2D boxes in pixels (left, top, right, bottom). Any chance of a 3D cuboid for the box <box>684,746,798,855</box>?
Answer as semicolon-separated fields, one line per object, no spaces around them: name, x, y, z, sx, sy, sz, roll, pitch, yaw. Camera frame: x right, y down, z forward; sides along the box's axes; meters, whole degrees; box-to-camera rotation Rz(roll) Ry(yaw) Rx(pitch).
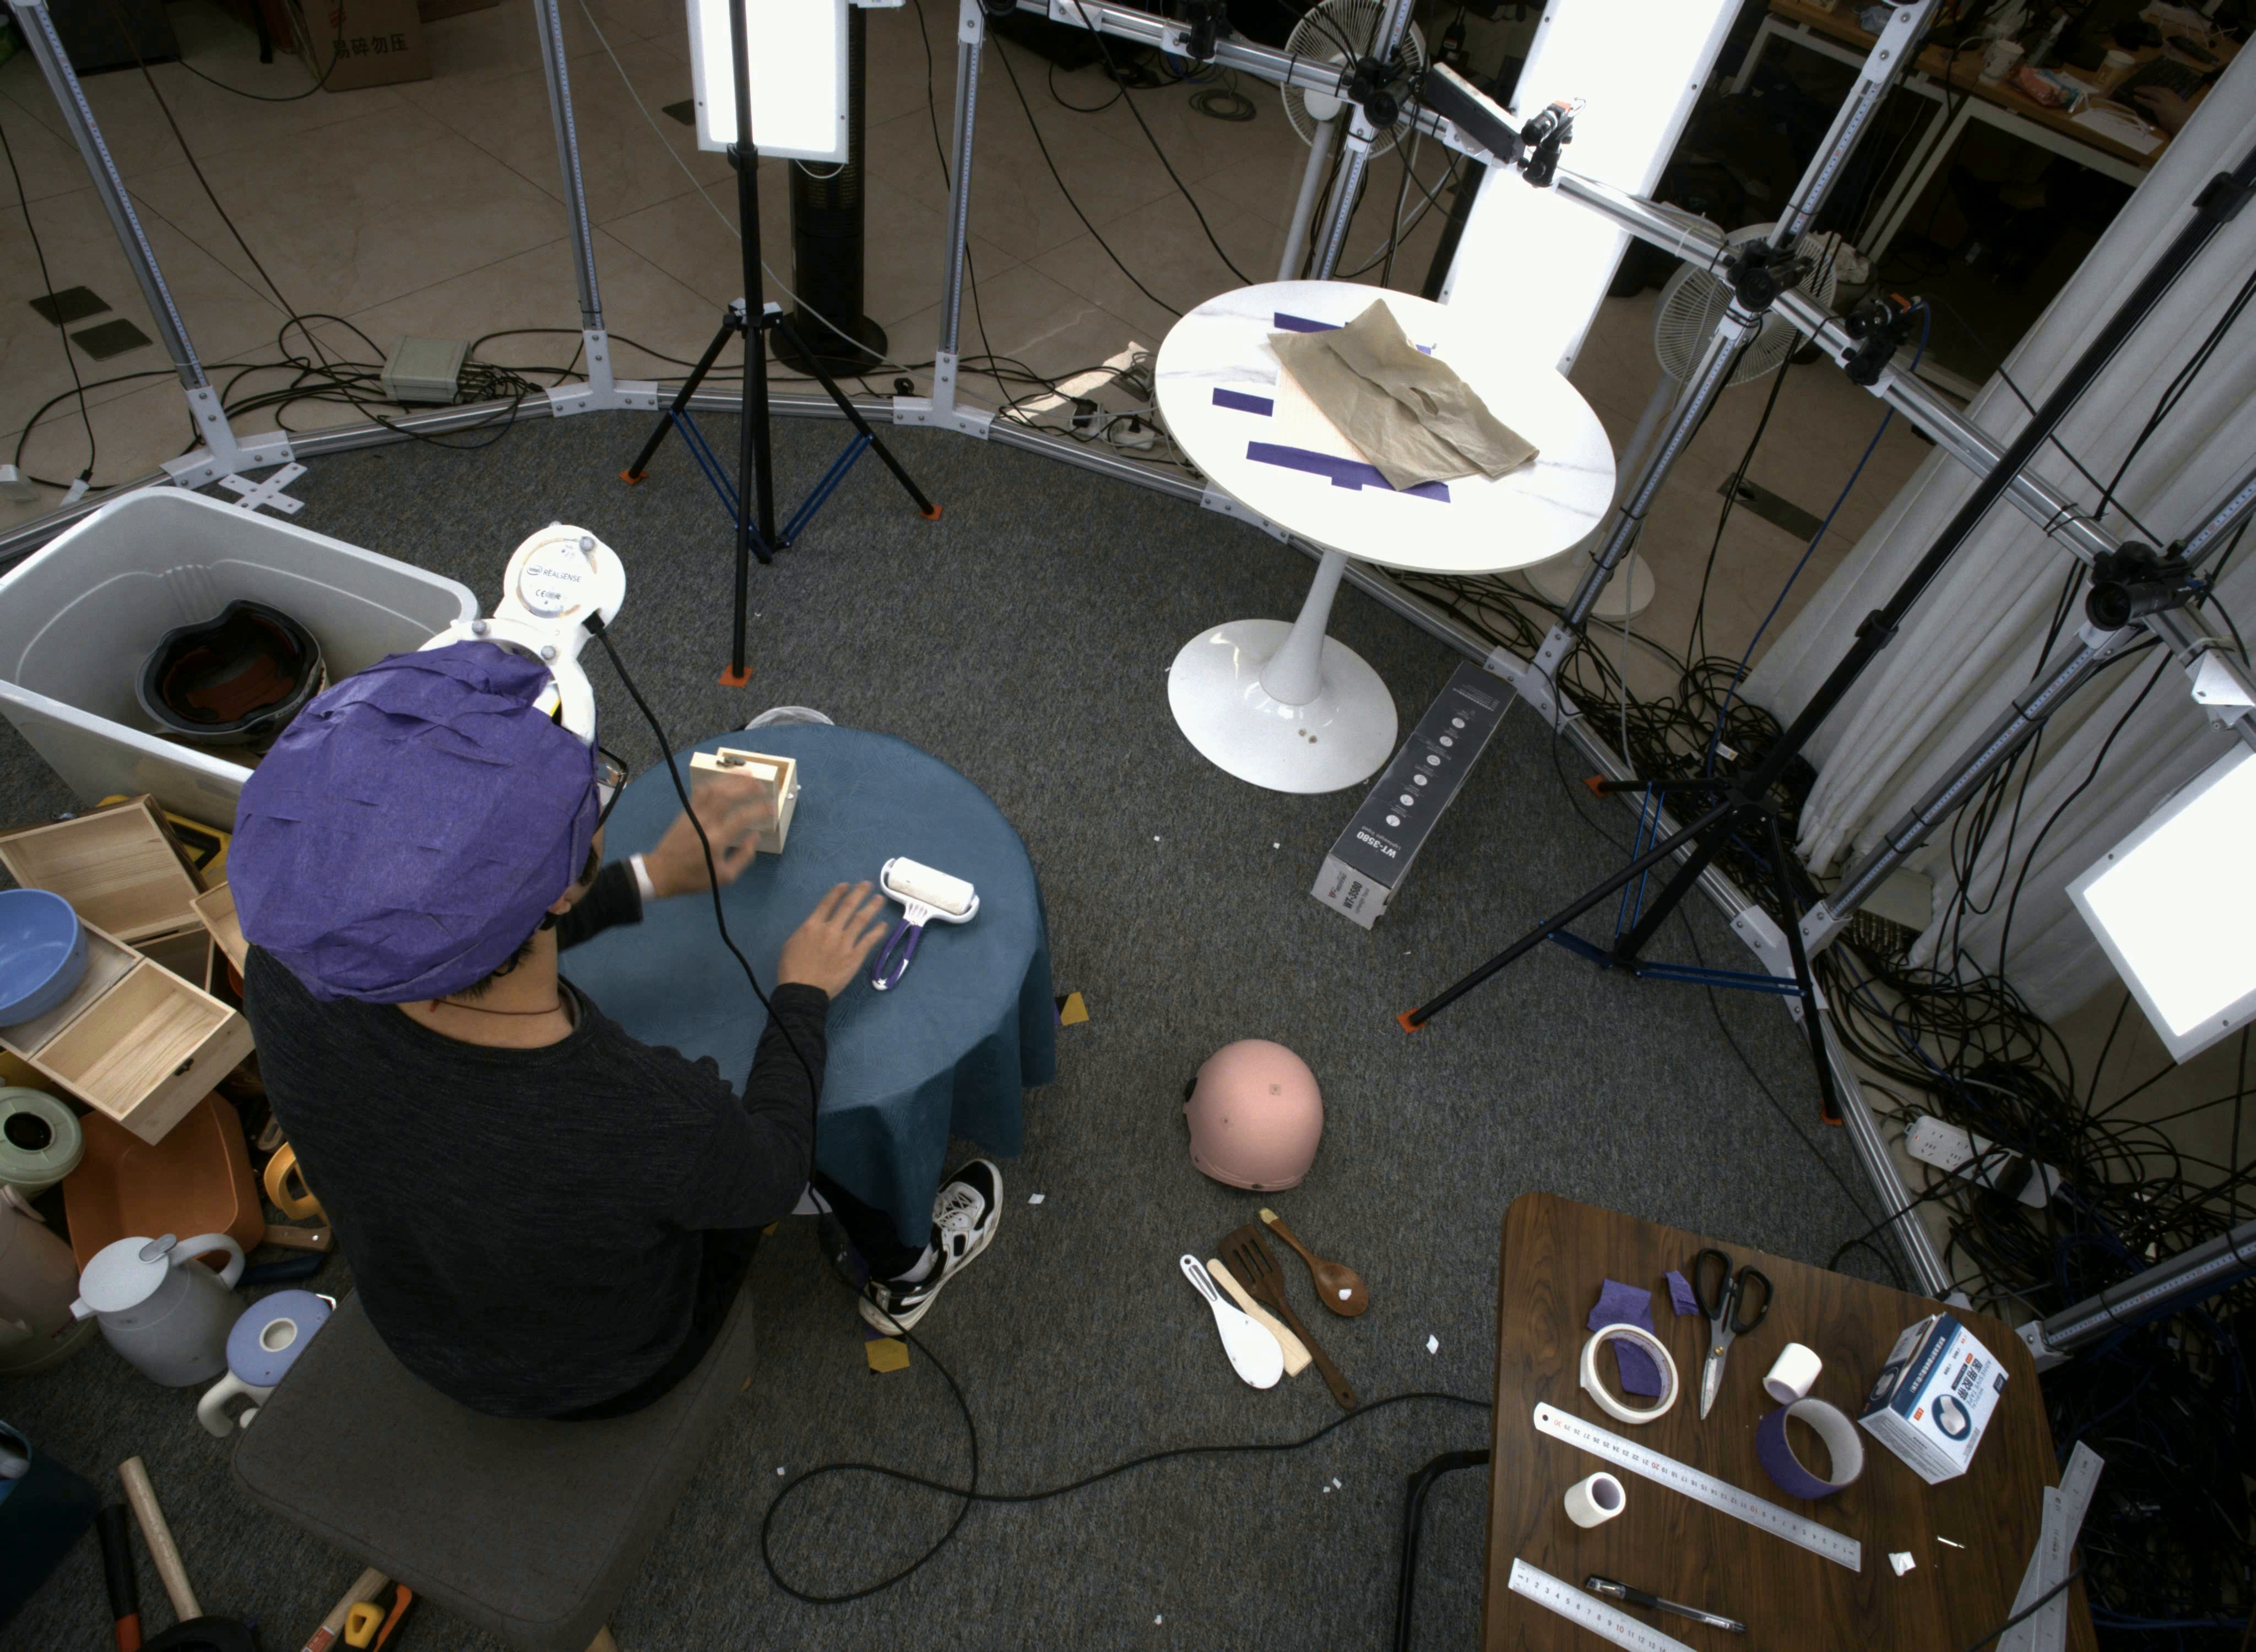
box;-0.484;-0.060;1.629;0.102;0.188;0.131;8;52;-6

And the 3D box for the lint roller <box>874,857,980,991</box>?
lint roller;-0.275;0.122;1.636;0.131;0.051;0.179;24;50;2
